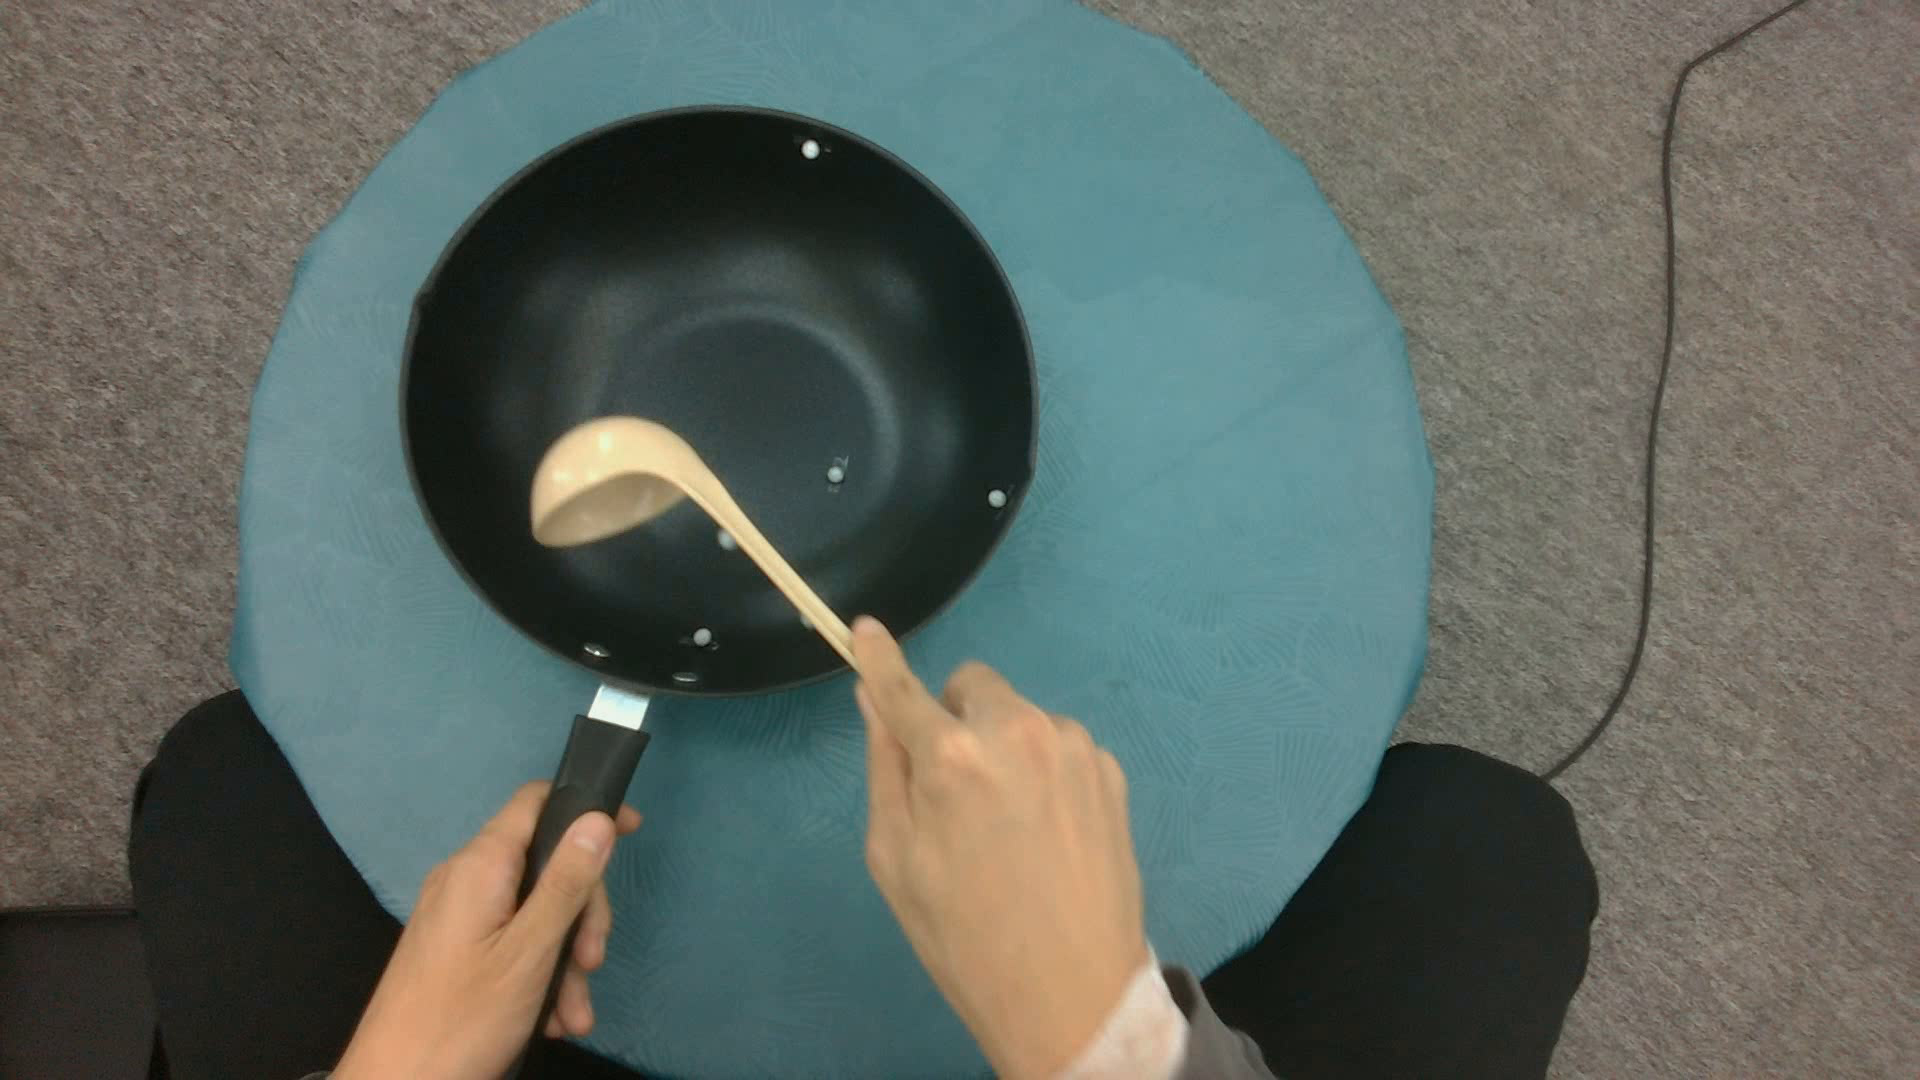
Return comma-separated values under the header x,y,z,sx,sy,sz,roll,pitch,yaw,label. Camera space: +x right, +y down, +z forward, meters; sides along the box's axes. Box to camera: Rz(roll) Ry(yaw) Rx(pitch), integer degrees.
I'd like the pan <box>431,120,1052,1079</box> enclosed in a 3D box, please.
x,y,z,sx,sy,sz,roll,pitch,yaw,label
-0.127,0.028,0.649,0.288,0.086,0.464,17,77,-1,pan

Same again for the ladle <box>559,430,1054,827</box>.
x,y,z,sx,sy,sz,roll,pitch,yaw,label
-0.070,0.048,0.549,0.254,0.072,0.072,43,115,24,ladle
